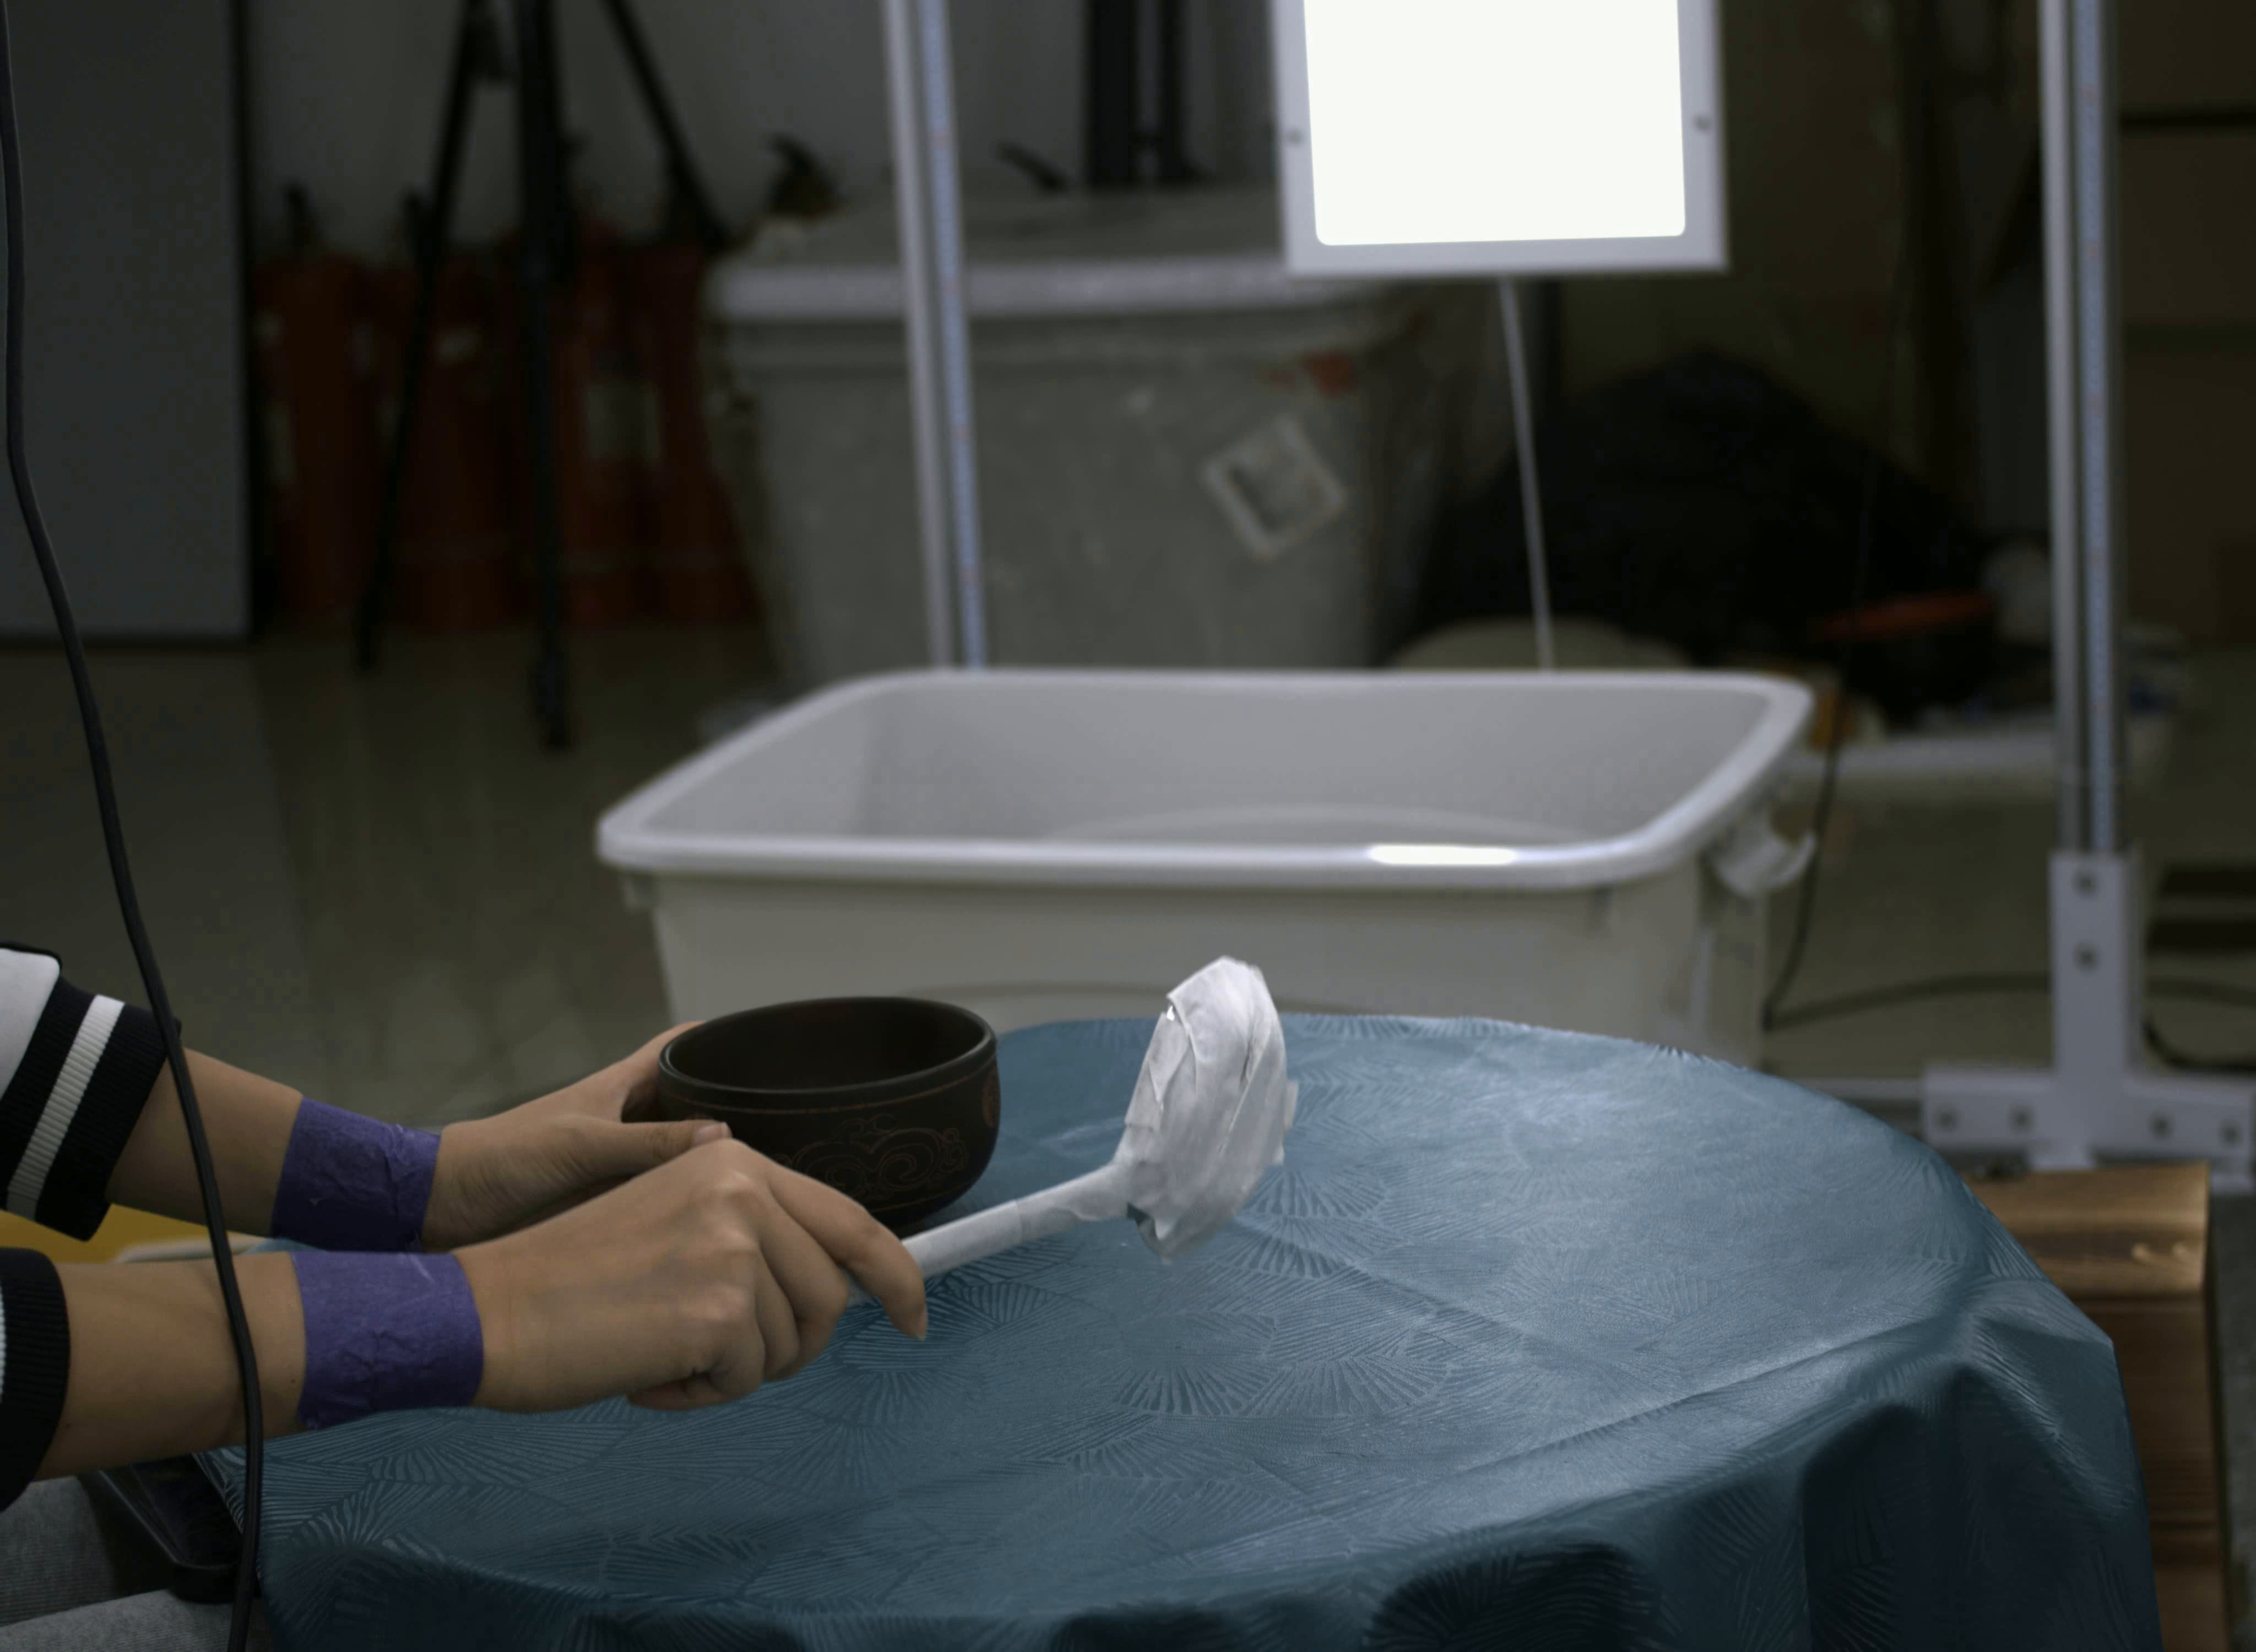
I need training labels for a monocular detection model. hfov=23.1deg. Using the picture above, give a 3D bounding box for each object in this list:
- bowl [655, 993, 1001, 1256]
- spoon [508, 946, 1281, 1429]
[{"bbox_3d":[-0.100,0.105,1.871,0.118,0.070,0.118,-5,13,0],"label":"bowl"},{"bbox_3d":[-0.066,0.119,1.655,0.273,0.101,0.060,-20,29,-17],"label":"spoon"}]
